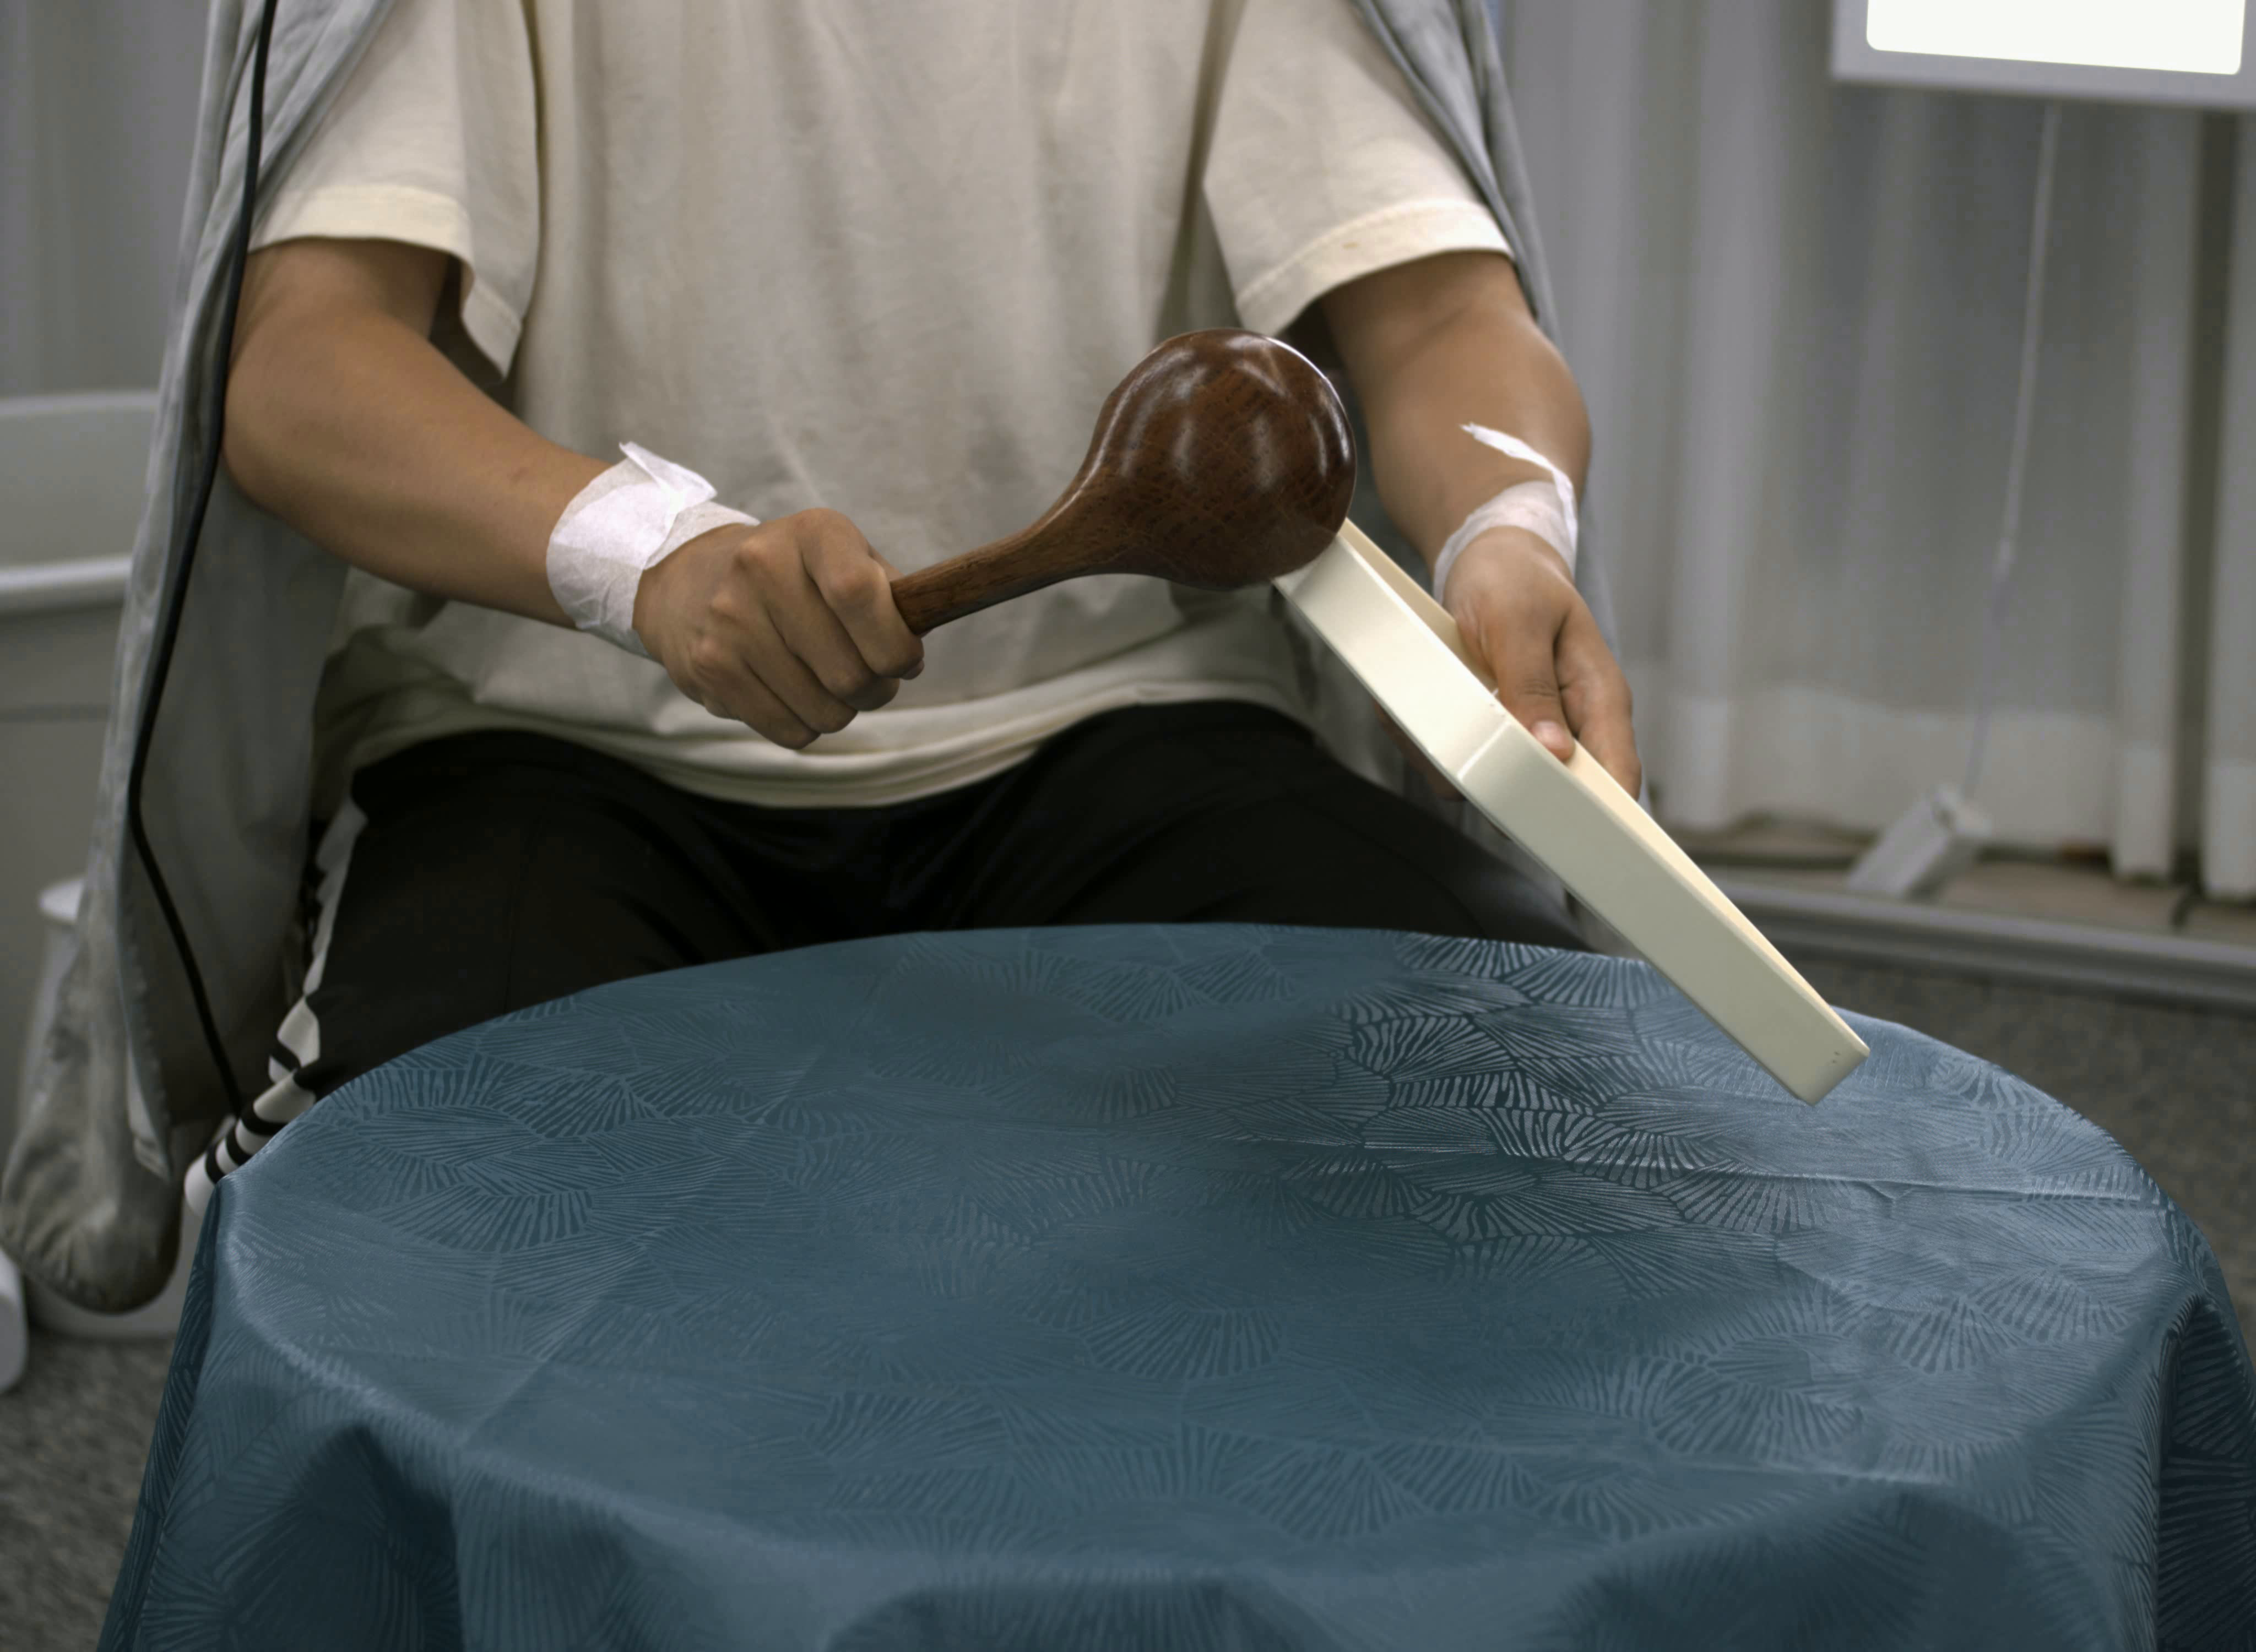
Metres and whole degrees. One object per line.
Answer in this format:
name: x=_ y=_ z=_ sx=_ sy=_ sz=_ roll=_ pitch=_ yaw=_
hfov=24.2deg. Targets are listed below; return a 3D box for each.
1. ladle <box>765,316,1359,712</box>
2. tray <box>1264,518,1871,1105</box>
ladle: x=-0.025 y=-0.092 z=1.682 sx=0.077 sy=0.082 sz=0.272 roll=-26 pitch=2 yaw=-33
tray: x=0.113 y=-0.032 z=1.670 sx=0.194 sy=0.027 sz=0.296 roll=41 pitch=6 yaw=-32
